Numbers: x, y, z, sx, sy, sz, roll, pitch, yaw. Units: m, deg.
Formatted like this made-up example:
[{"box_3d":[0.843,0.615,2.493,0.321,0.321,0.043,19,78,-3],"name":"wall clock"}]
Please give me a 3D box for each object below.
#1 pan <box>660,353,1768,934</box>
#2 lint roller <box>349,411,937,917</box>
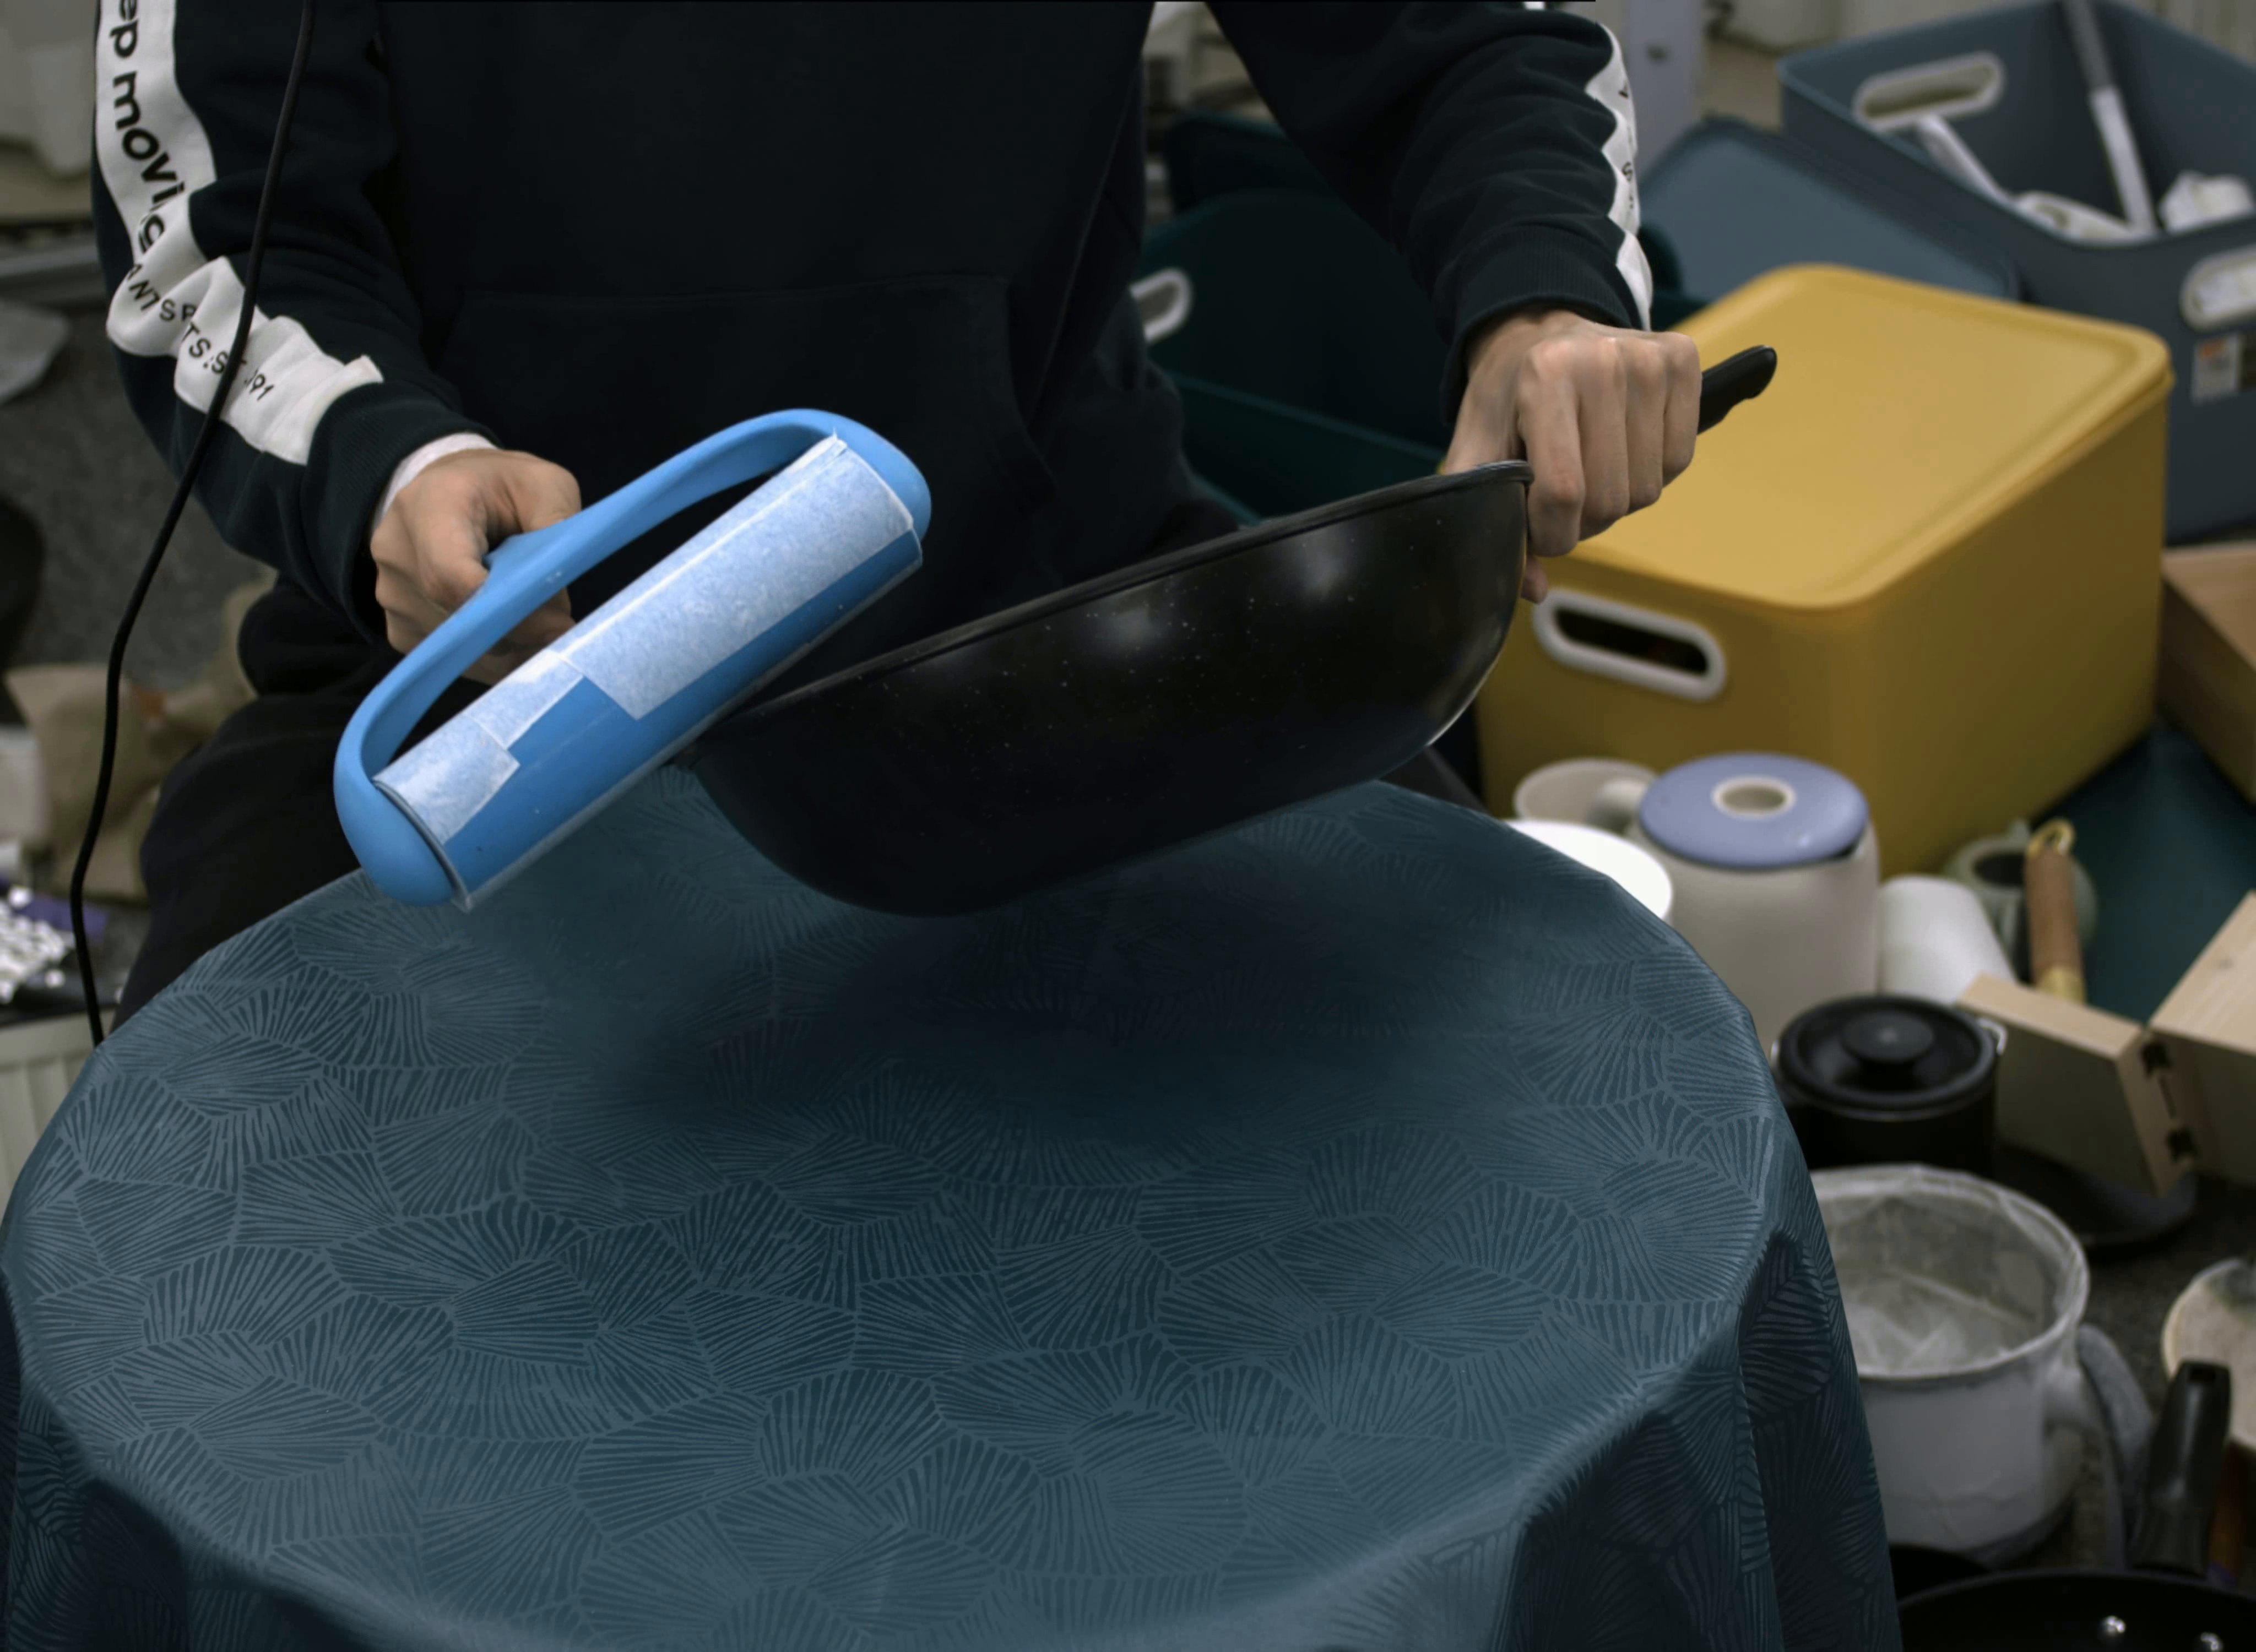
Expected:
[{"box_3d":[0.062,-0.061,1.954,0.481,0.112,0.306,-18,-1,-36],"name":"pan"},{"box_3d":[-0.187,-0.064,1.890,0.231,0.067,0.180,-42,33,-20],"name":"lint roller"}]
